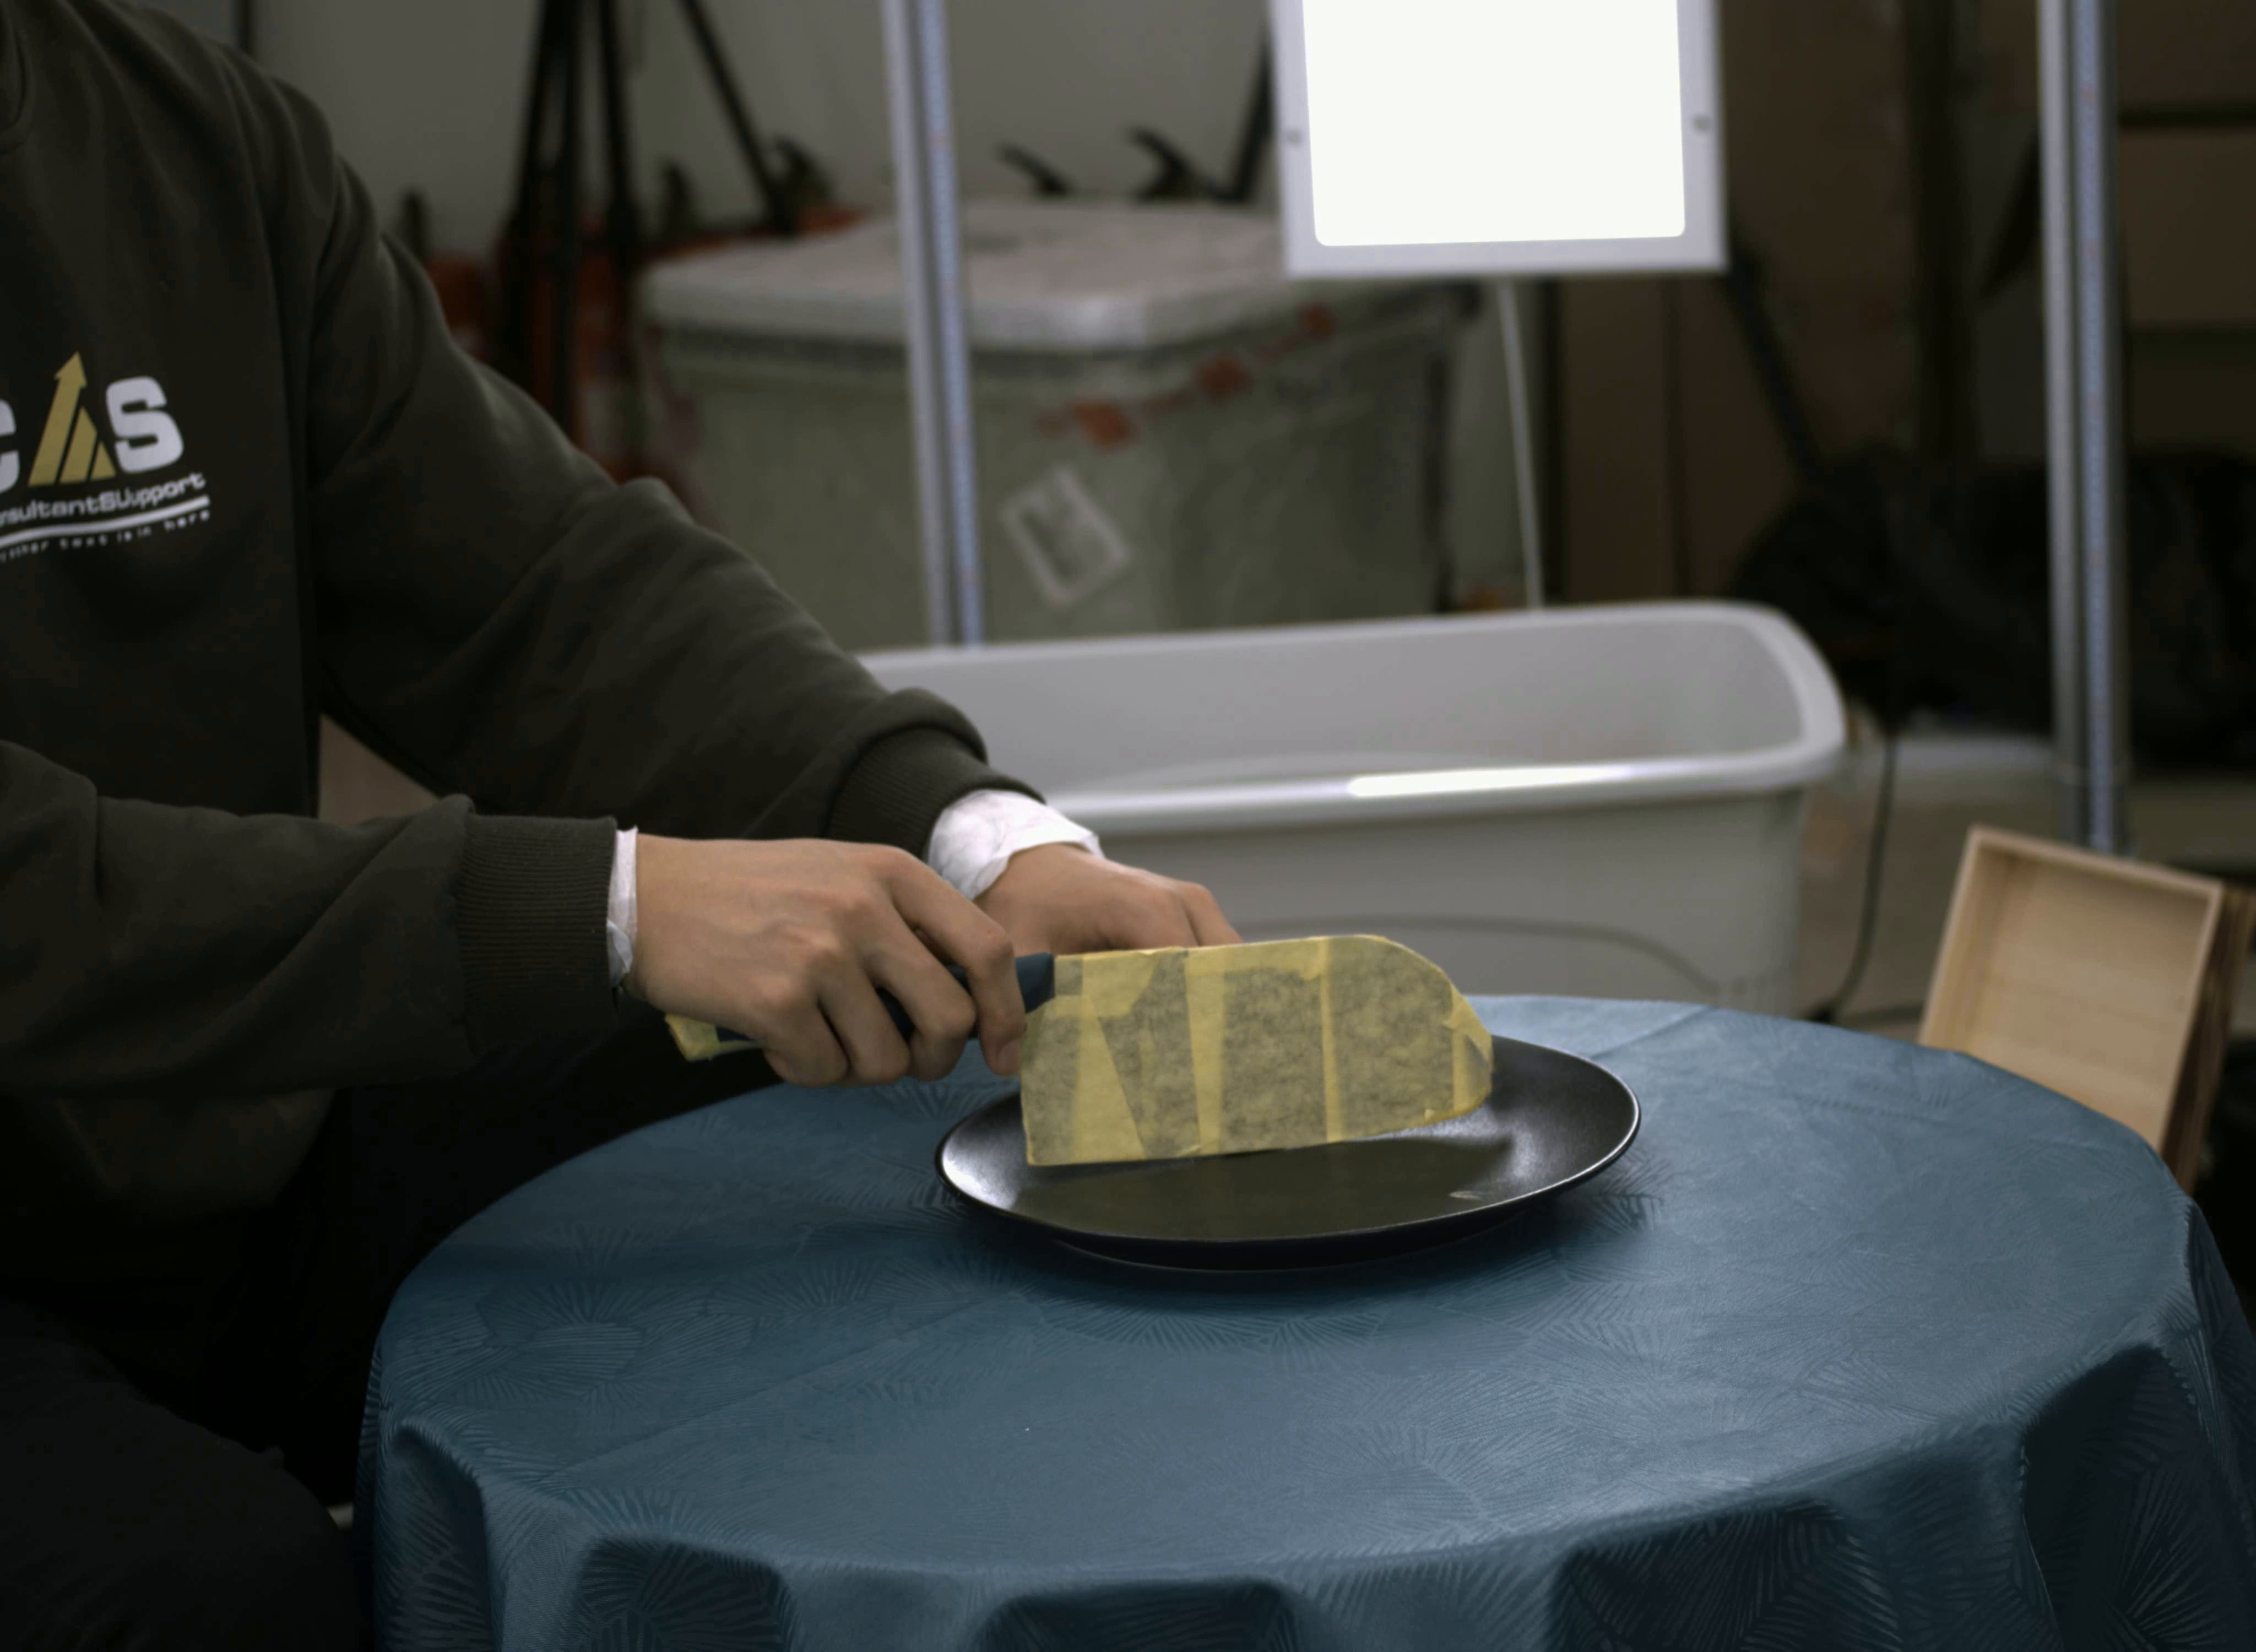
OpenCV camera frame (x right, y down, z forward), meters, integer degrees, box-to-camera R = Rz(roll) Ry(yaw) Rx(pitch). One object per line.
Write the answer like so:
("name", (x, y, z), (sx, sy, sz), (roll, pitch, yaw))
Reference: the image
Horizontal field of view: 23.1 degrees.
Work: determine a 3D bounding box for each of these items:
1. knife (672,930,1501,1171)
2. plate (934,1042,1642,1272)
("knife", (-0.013, 0.078, 1.900), (0.288, 0.081, 0.027), (-2, 1, -3))
("plate", (0.056, 0.114, 1.886), (0.244, 0.023, 0.244), (-5, 13, 0))
